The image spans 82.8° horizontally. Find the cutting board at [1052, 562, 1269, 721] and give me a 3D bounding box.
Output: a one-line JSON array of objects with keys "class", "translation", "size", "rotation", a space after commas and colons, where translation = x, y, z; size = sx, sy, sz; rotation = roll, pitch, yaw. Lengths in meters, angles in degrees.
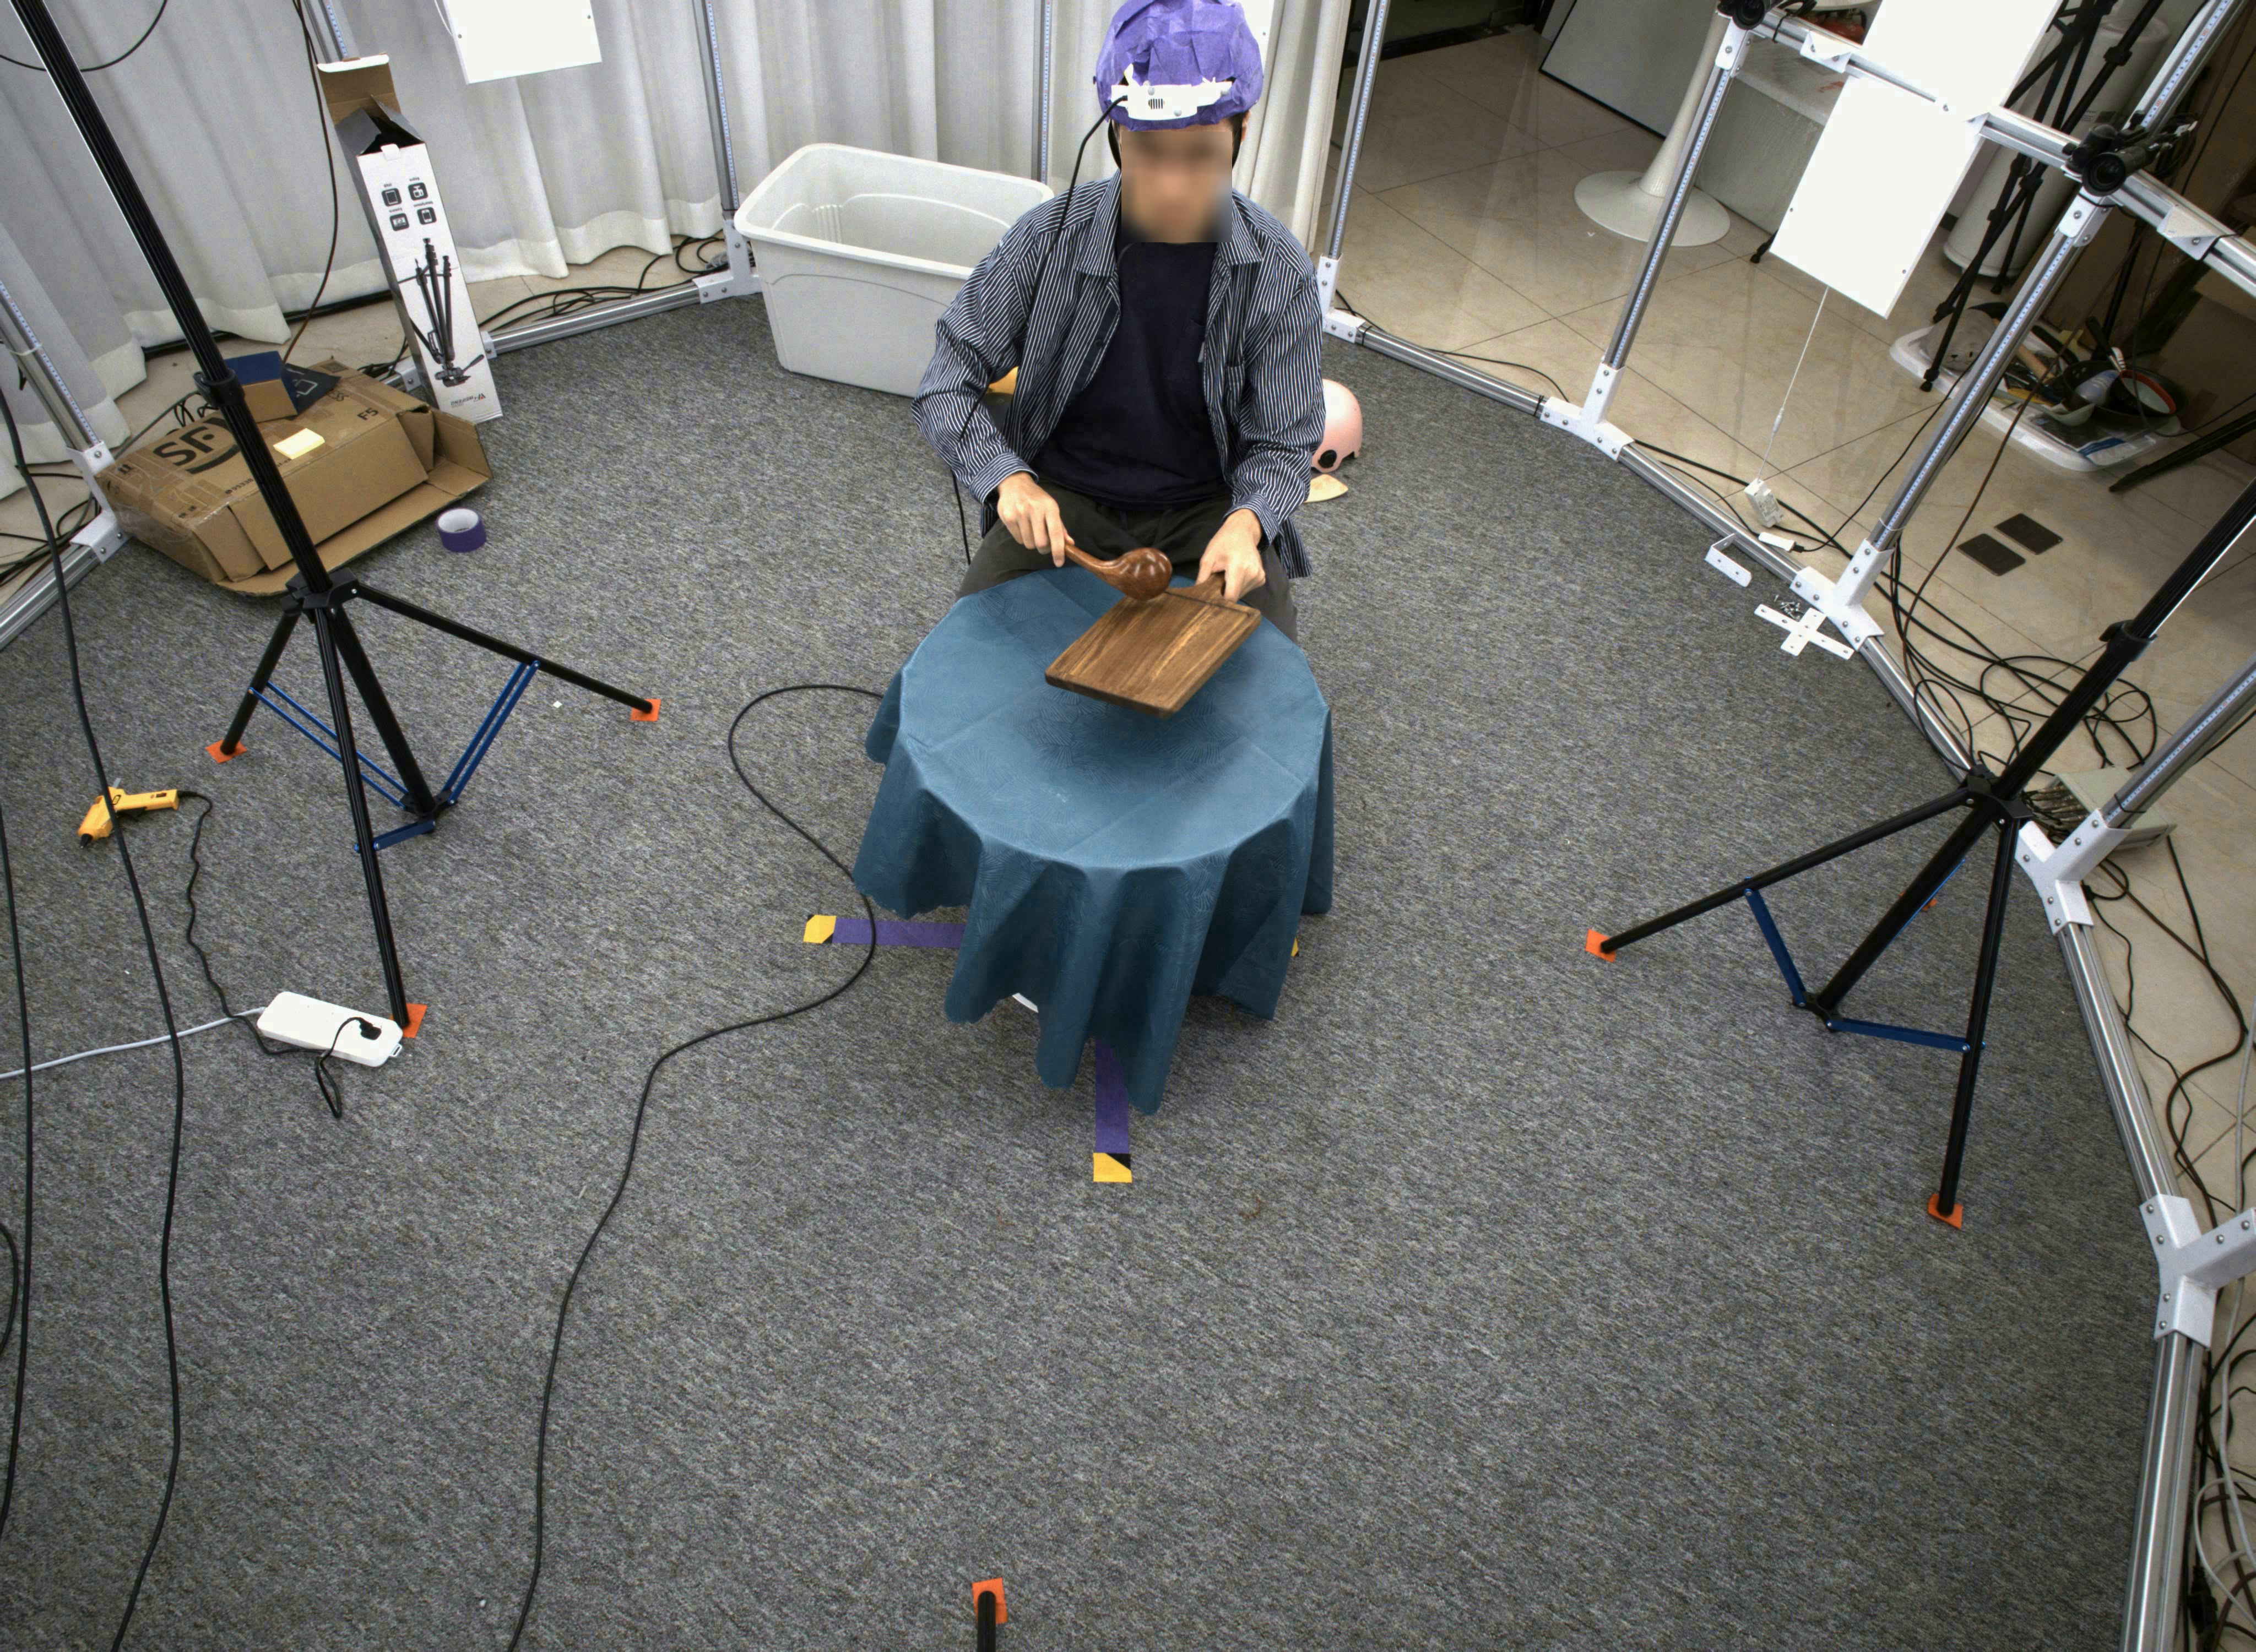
[{"class": "cutting board", "translation": [0.072, -0.267, 1.744], "size": [0.203, 0.022, 0.357], "rotation": [19, 46, 28]}]

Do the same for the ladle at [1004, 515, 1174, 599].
[{"class": "ladle", "translation": [-0.054, -0.397, 1.819], "size": [0.278, 0.080, 0.077], "rotation": [33, 48, 31]}]
